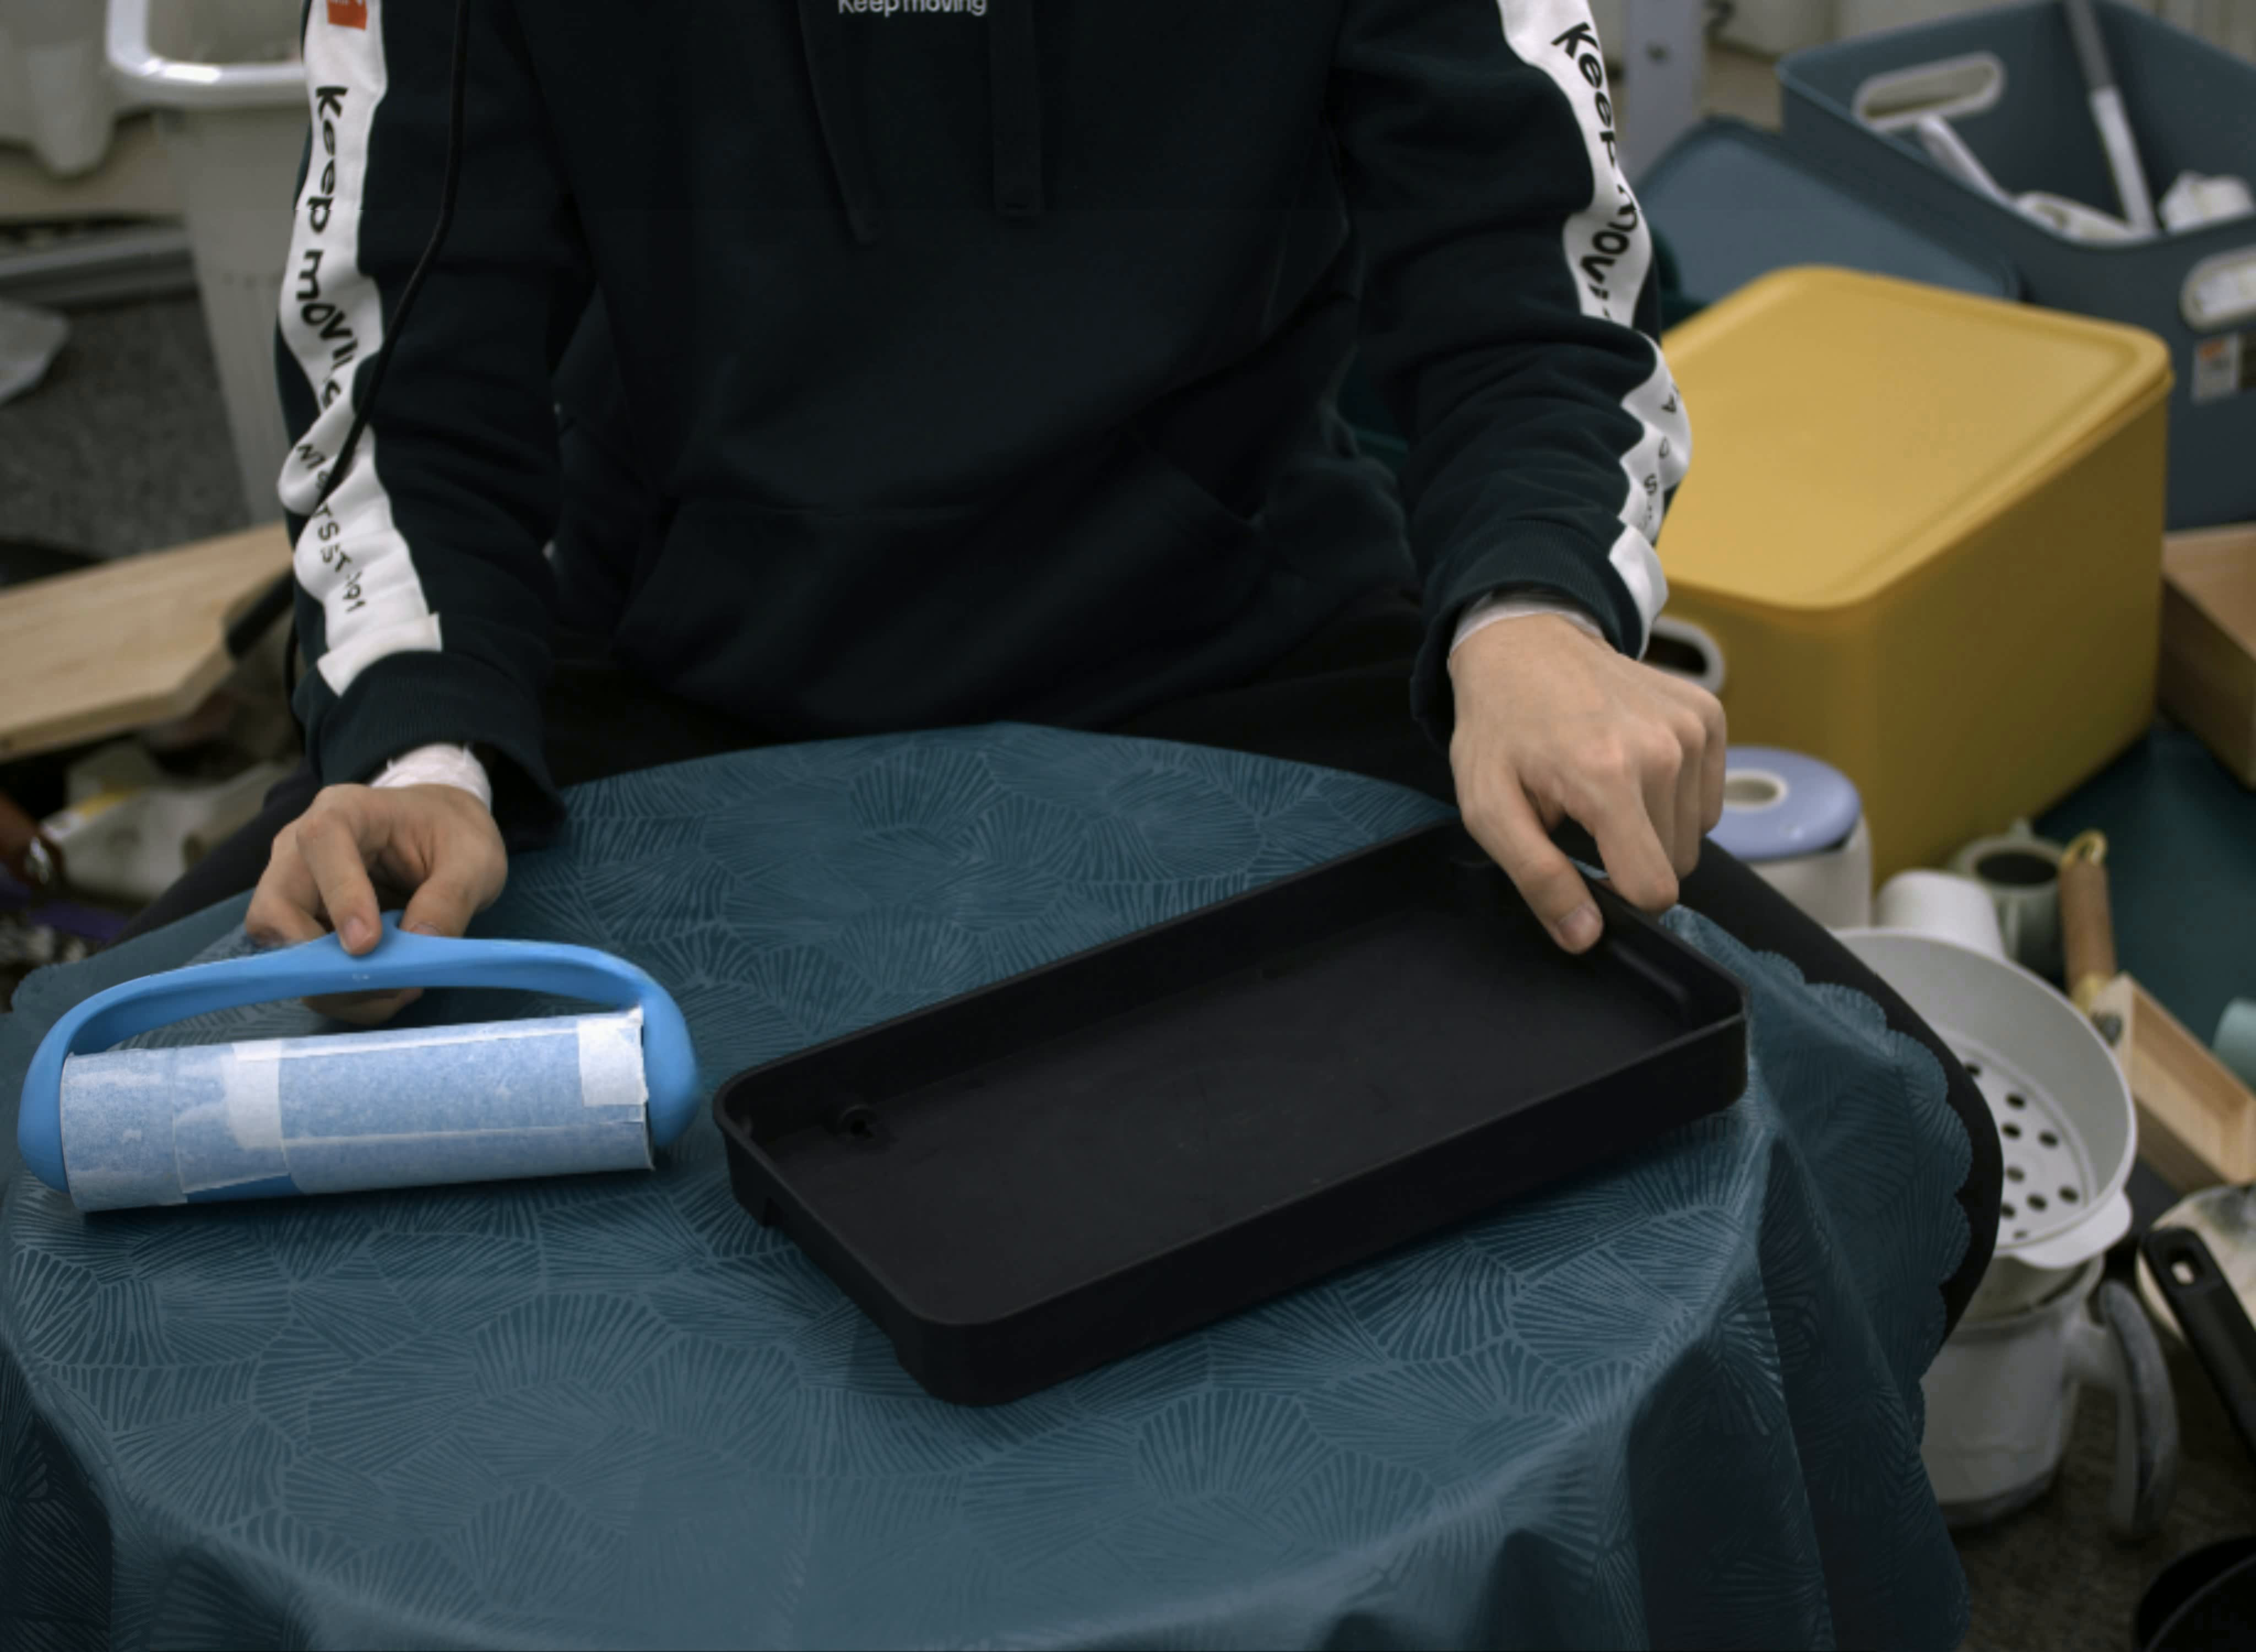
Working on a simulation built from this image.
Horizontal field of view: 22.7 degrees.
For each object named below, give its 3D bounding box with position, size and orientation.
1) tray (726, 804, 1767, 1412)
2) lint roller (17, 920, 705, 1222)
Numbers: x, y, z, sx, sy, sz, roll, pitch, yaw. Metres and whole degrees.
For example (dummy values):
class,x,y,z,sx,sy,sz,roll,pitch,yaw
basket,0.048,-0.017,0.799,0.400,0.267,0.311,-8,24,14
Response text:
class,x,y,z,sx,sy,sz,roll,pitch,yaw
tray,0.041,0.088,1.871,0.320,0.036,0.185,-22,31,-25
lint roller,-0.262,0.068,1.928,0.228,0.067,0.183,-7,29,-4
